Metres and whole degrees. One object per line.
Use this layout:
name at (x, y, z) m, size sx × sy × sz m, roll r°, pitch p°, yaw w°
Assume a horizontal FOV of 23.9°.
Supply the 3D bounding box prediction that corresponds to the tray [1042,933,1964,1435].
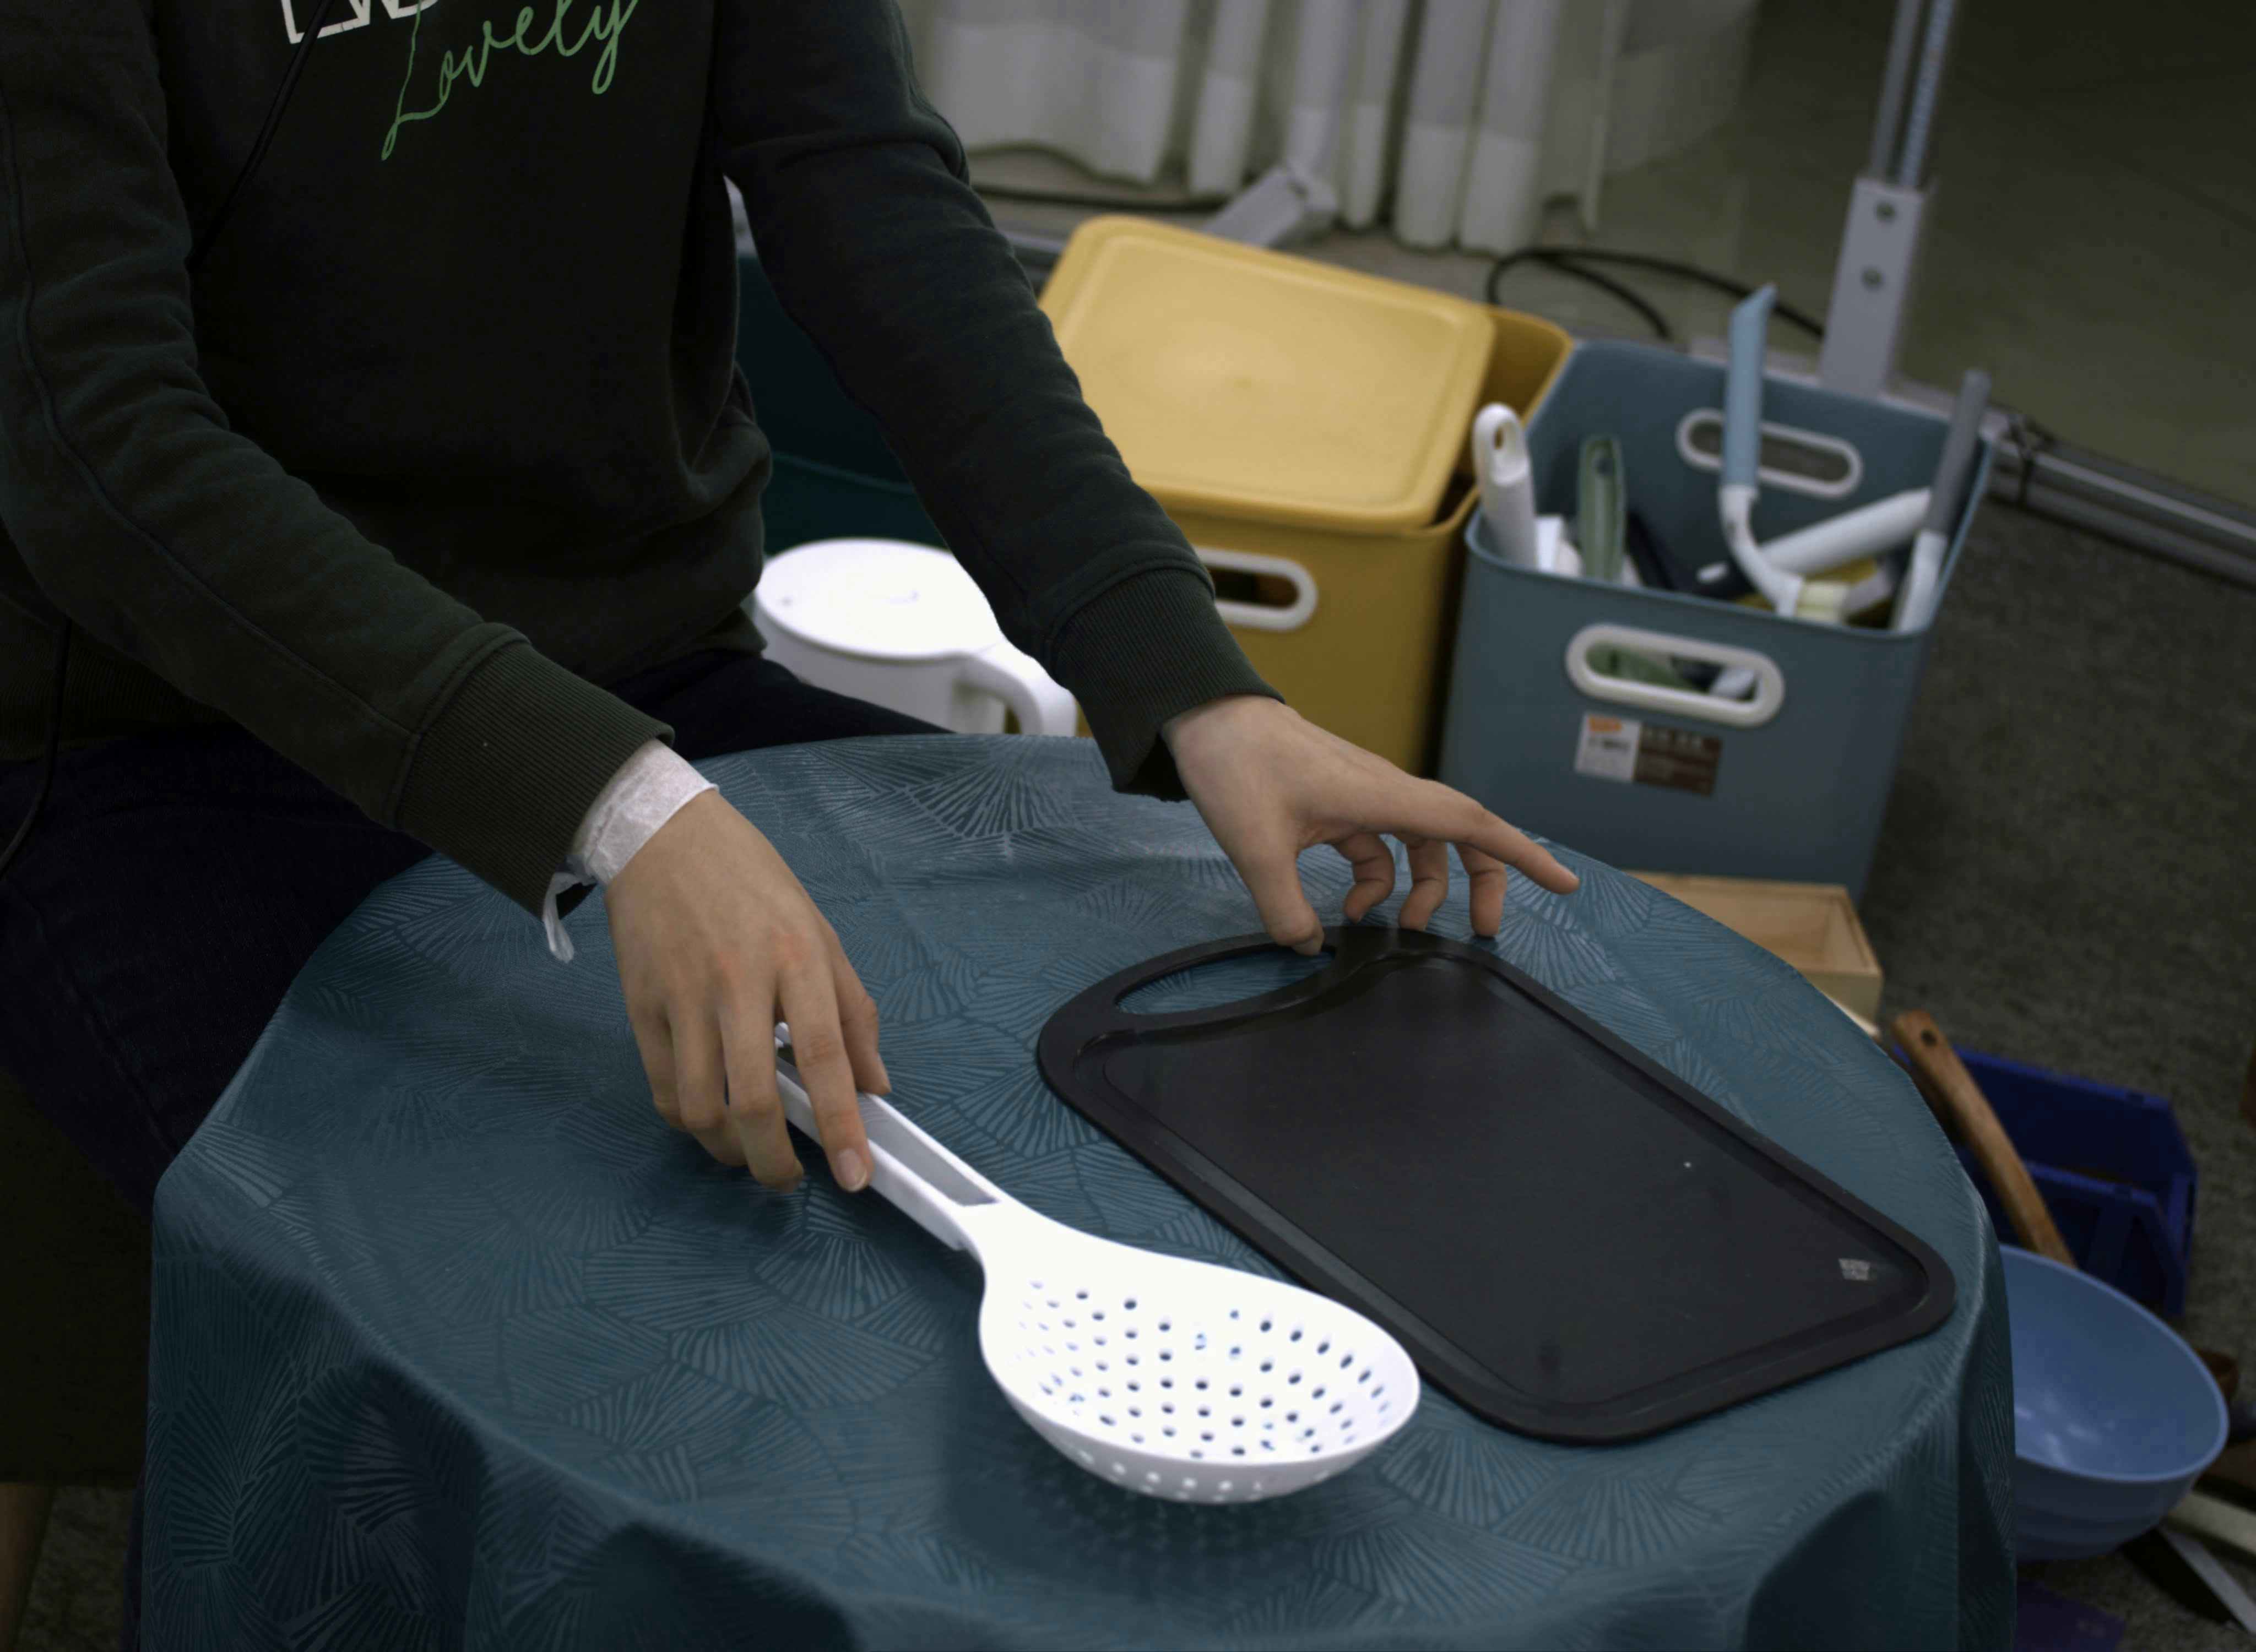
tray at (0.120, 0.114, 1.839) m, size 0.210 × 0.010 × 0.328 m, roll -13°, pitch 32°, yaw -35°

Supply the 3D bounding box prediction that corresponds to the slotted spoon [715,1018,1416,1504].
slotted spoon at (-0.039, 0.134, 1.720) m, size 0.135 × 0.045 × 0.353 m, roll -7°, pitch 28°, yaw -33°
